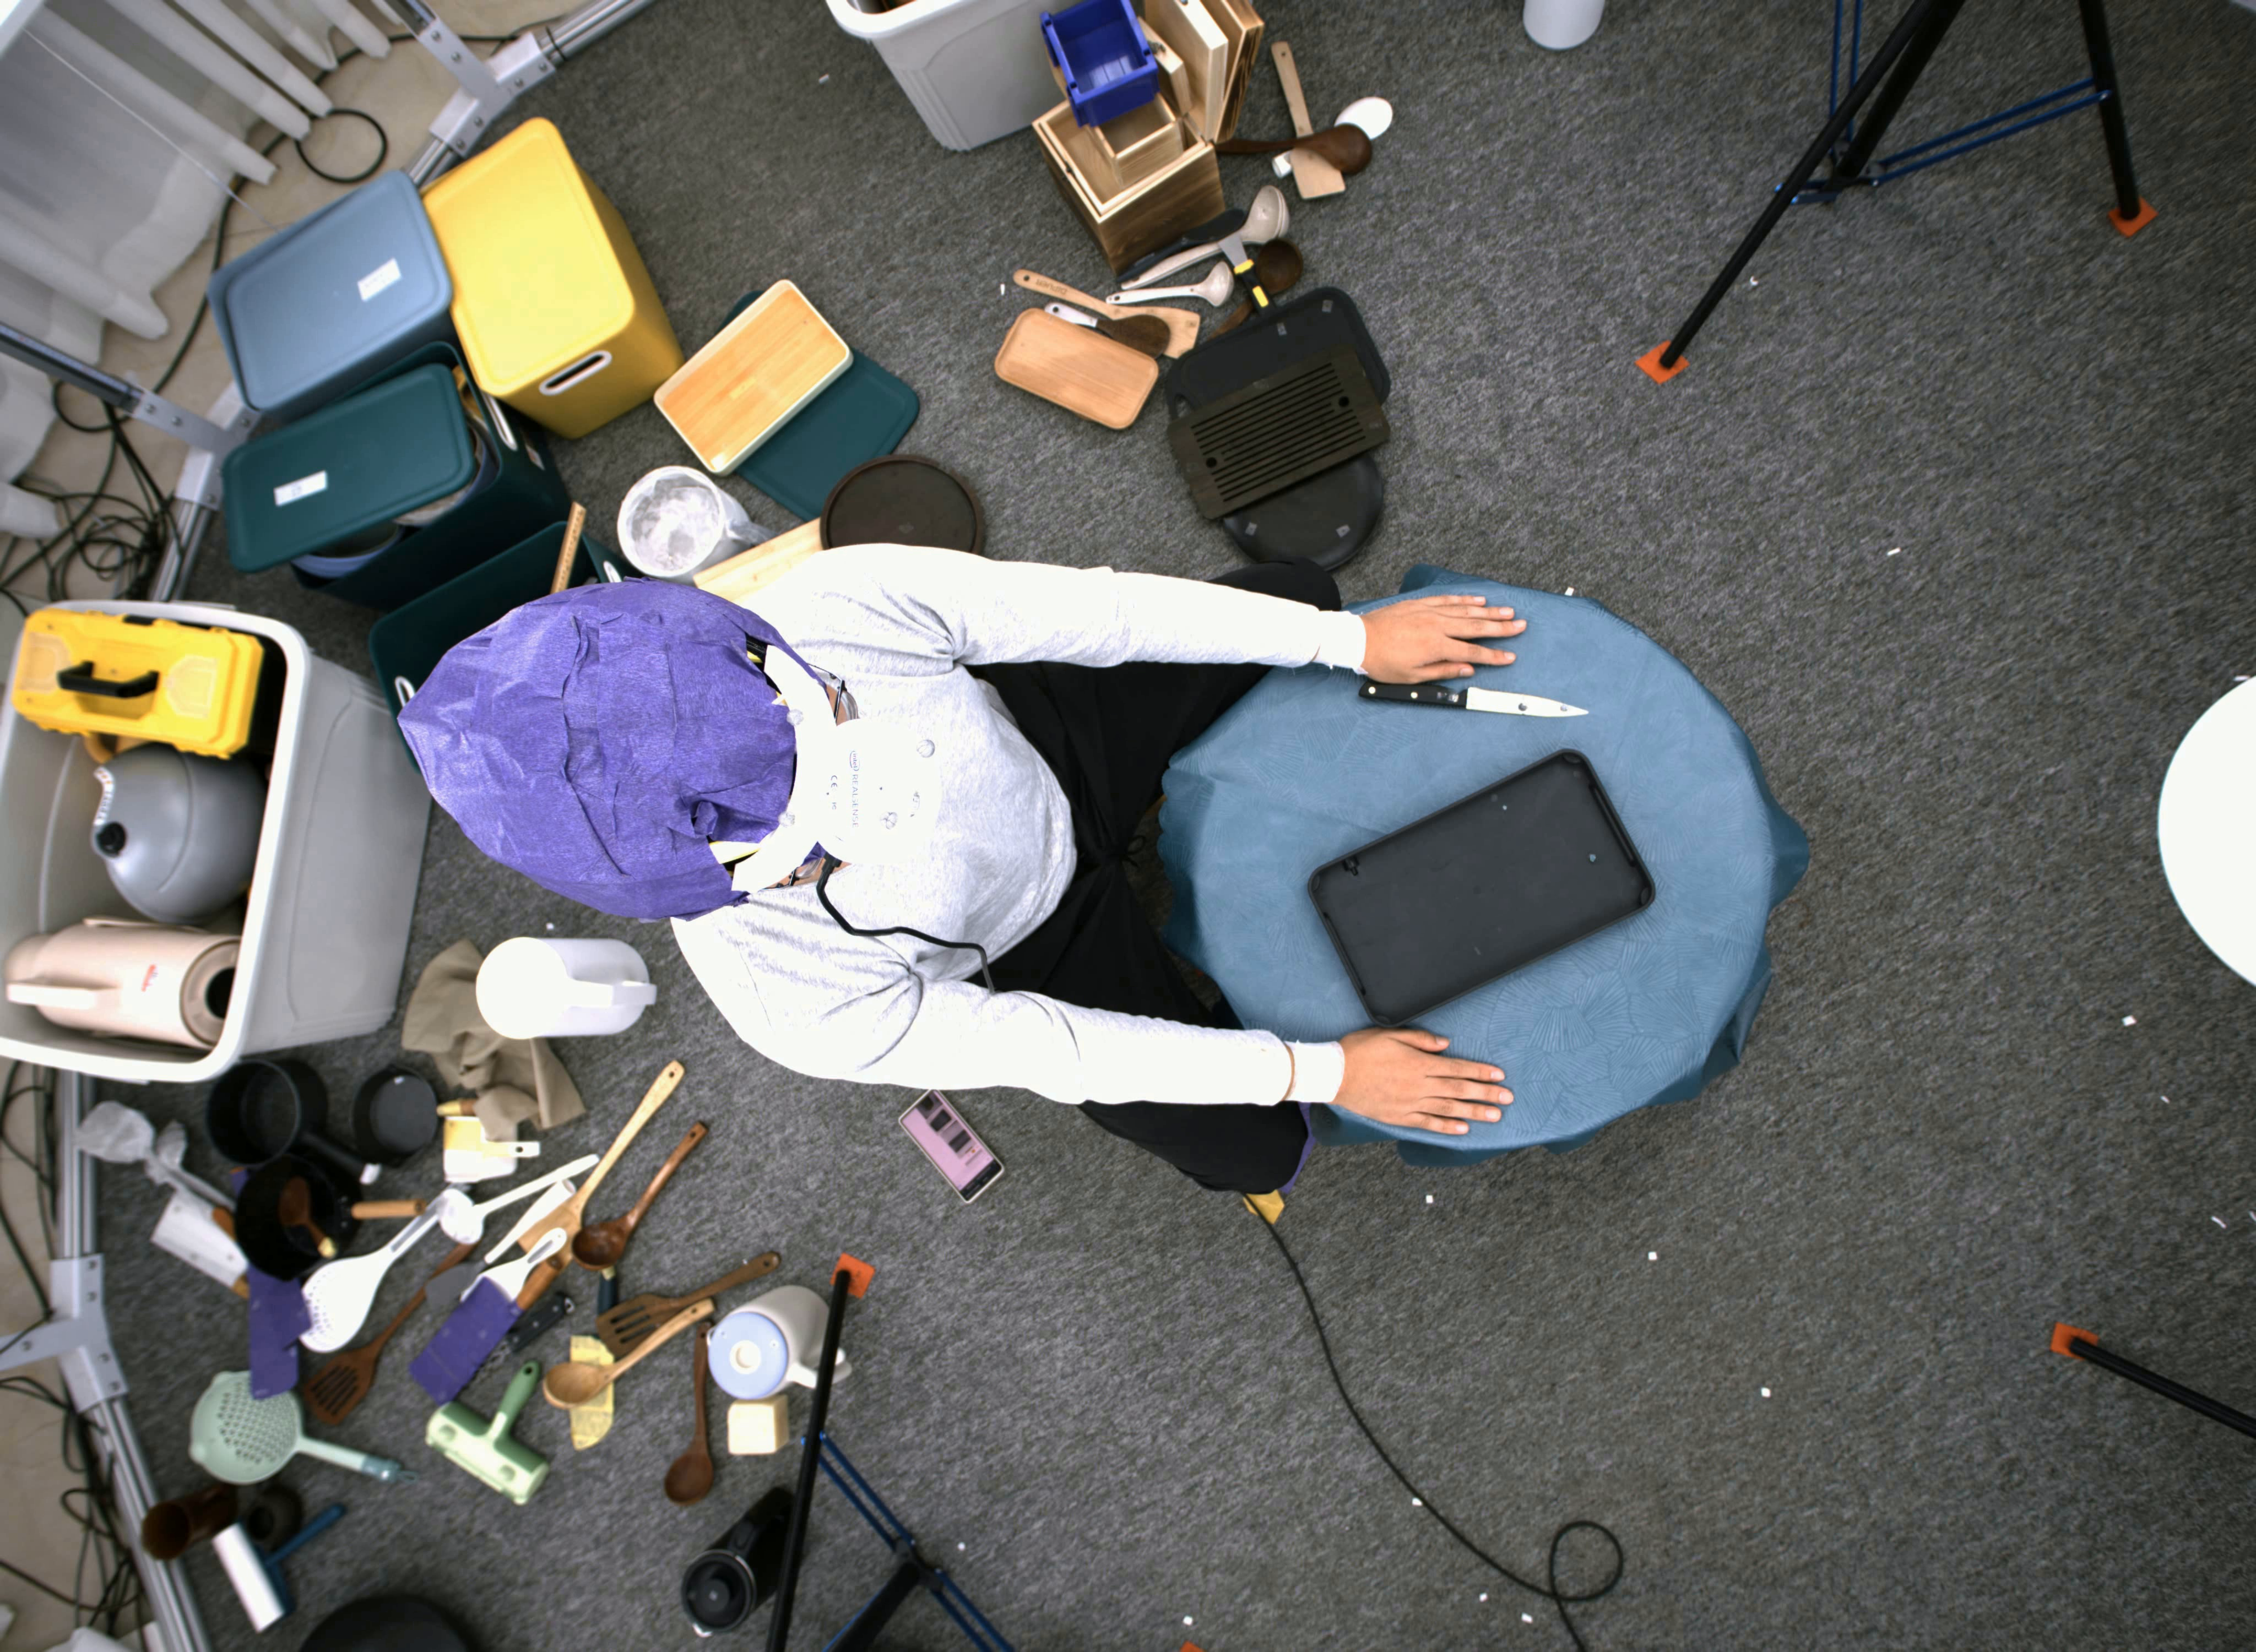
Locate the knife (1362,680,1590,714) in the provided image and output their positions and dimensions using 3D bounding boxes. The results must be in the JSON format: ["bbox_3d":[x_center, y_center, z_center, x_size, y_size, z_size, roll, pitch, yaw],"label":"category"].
[{"bbox_3d":[0.367,-0.136,1.448,0.239,0.016,0.024,6,88,8],"label":"knife"}]

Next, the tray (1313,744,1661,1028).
[{"bbox_3d":[0.367,0.061,1.424,0.320,0.037,0.183,-28,82,9],"label":"tray"}]
